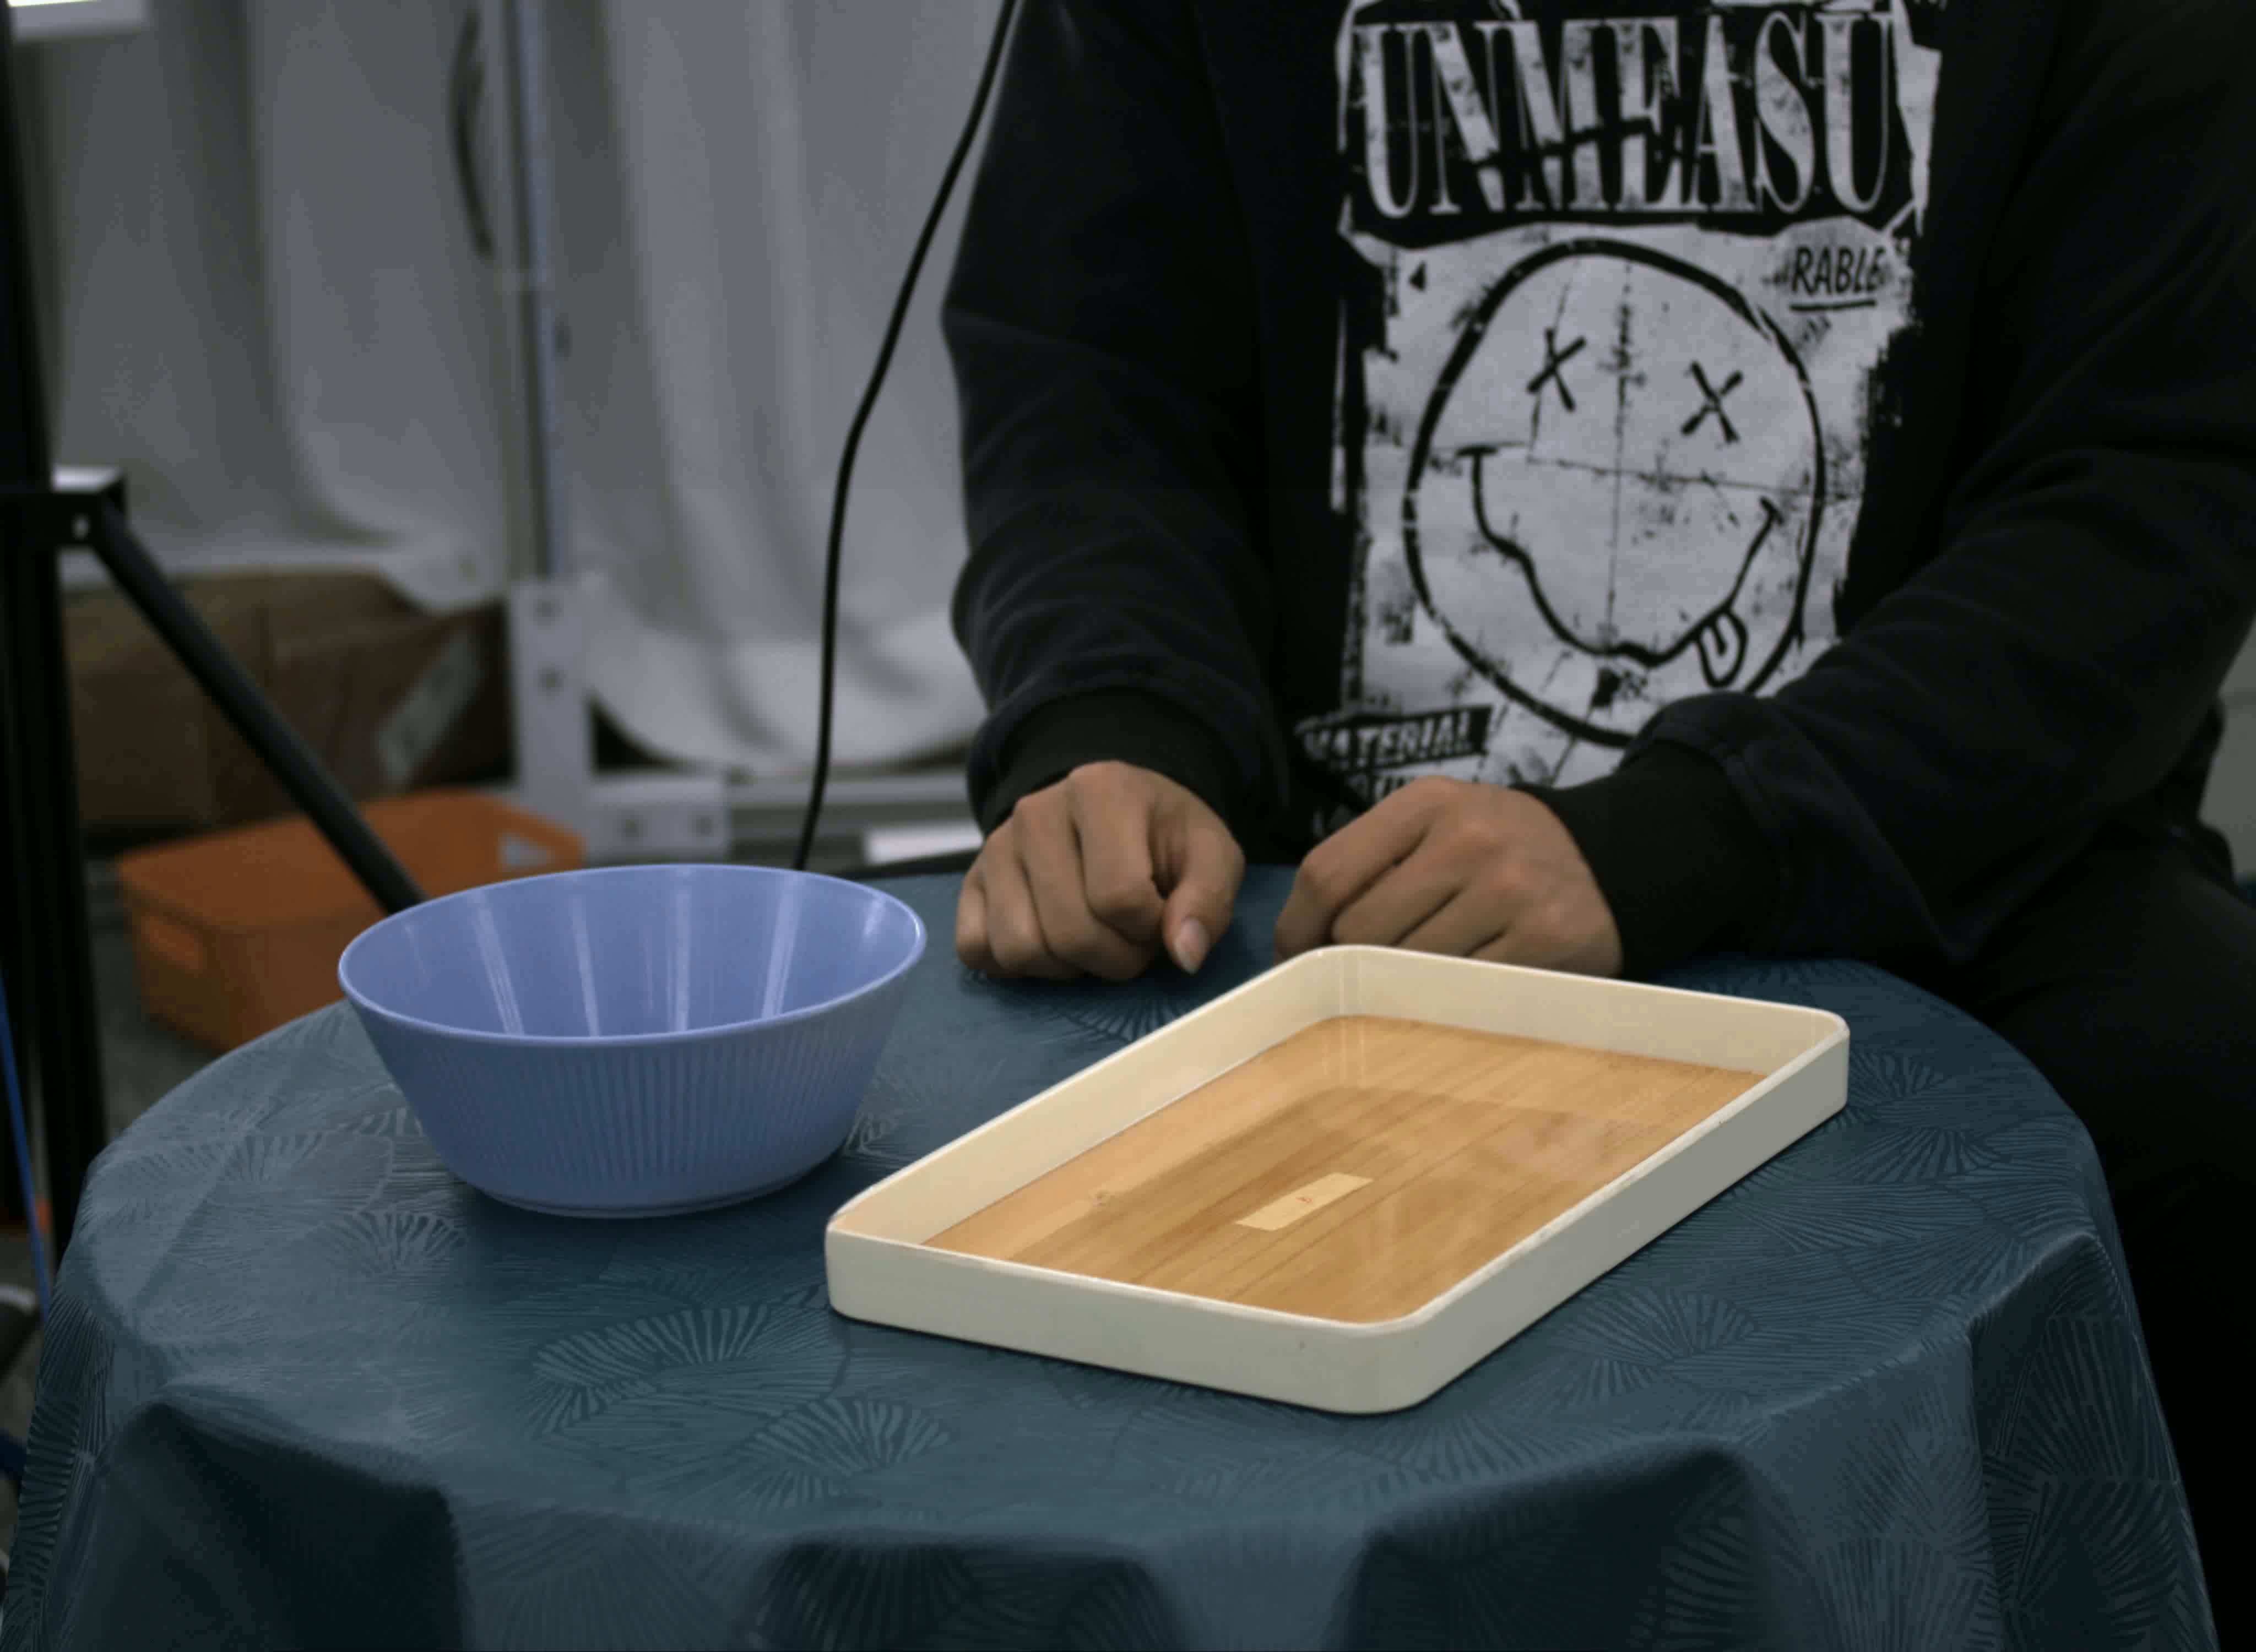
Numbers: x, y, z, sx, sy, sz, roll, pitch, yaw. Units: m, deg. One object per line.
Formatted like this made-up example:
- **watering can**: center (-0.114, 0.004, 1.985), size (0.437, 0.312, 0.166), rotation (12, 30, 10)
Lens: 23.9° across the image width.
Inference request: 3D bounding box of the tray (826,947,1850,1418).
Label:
- **tray**: center (0.068, 0.097, 1.537), size (0.195, 0.027, 0.294), rotation (7, 19, 32)

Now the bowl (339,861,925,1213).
- **bowl**: center (-0.147, 0.066, 1.600), size (0.175, 0.070, 0.177), rotation (-2, 16, -1)
